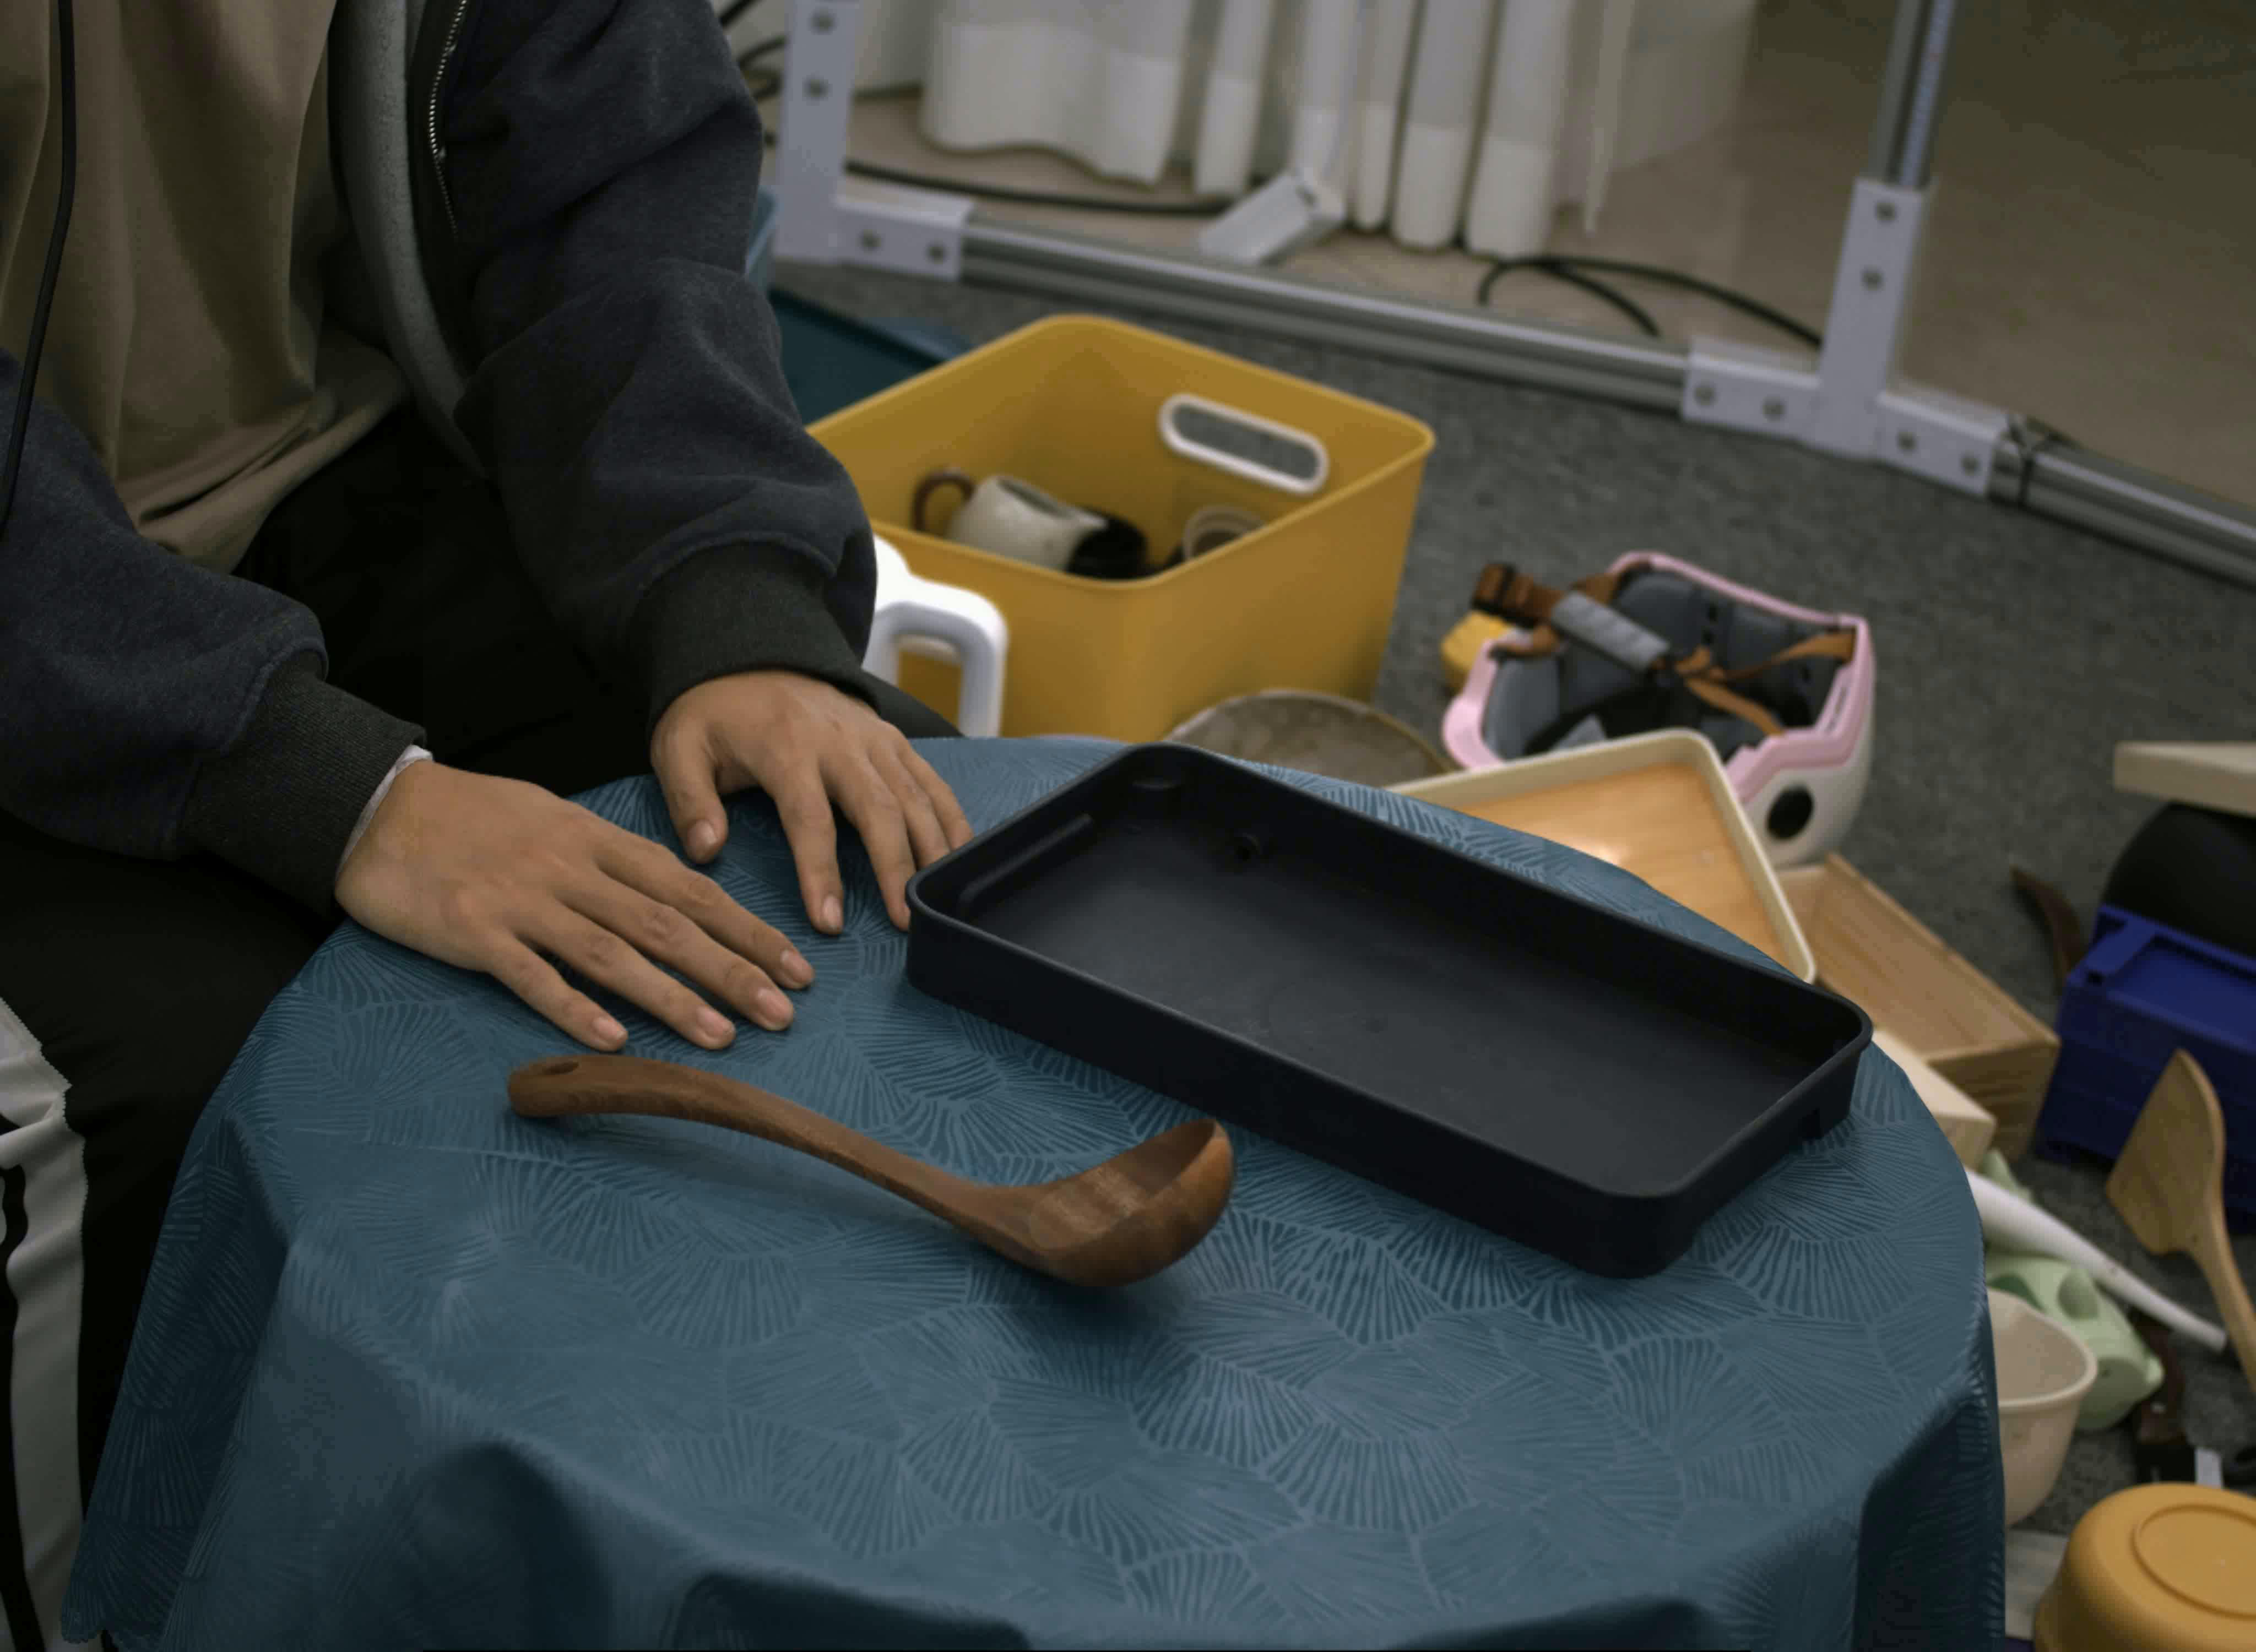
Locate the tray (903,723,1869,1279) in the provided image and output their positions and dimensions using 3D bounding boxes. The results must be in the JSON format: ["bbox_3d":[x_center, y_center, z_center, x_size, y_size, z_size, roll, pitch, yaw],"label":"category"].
[{"bbox_3d":[0.090,0.057,1.905,0.319,0.037,0.184,23,31,27],"label":"tray"}]

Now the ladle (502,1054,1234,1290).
[{"bbox_3d":[-0.089,0.098,1.760,0.261,0.065,0.076,16,28,18],"label":"ladle"}]
